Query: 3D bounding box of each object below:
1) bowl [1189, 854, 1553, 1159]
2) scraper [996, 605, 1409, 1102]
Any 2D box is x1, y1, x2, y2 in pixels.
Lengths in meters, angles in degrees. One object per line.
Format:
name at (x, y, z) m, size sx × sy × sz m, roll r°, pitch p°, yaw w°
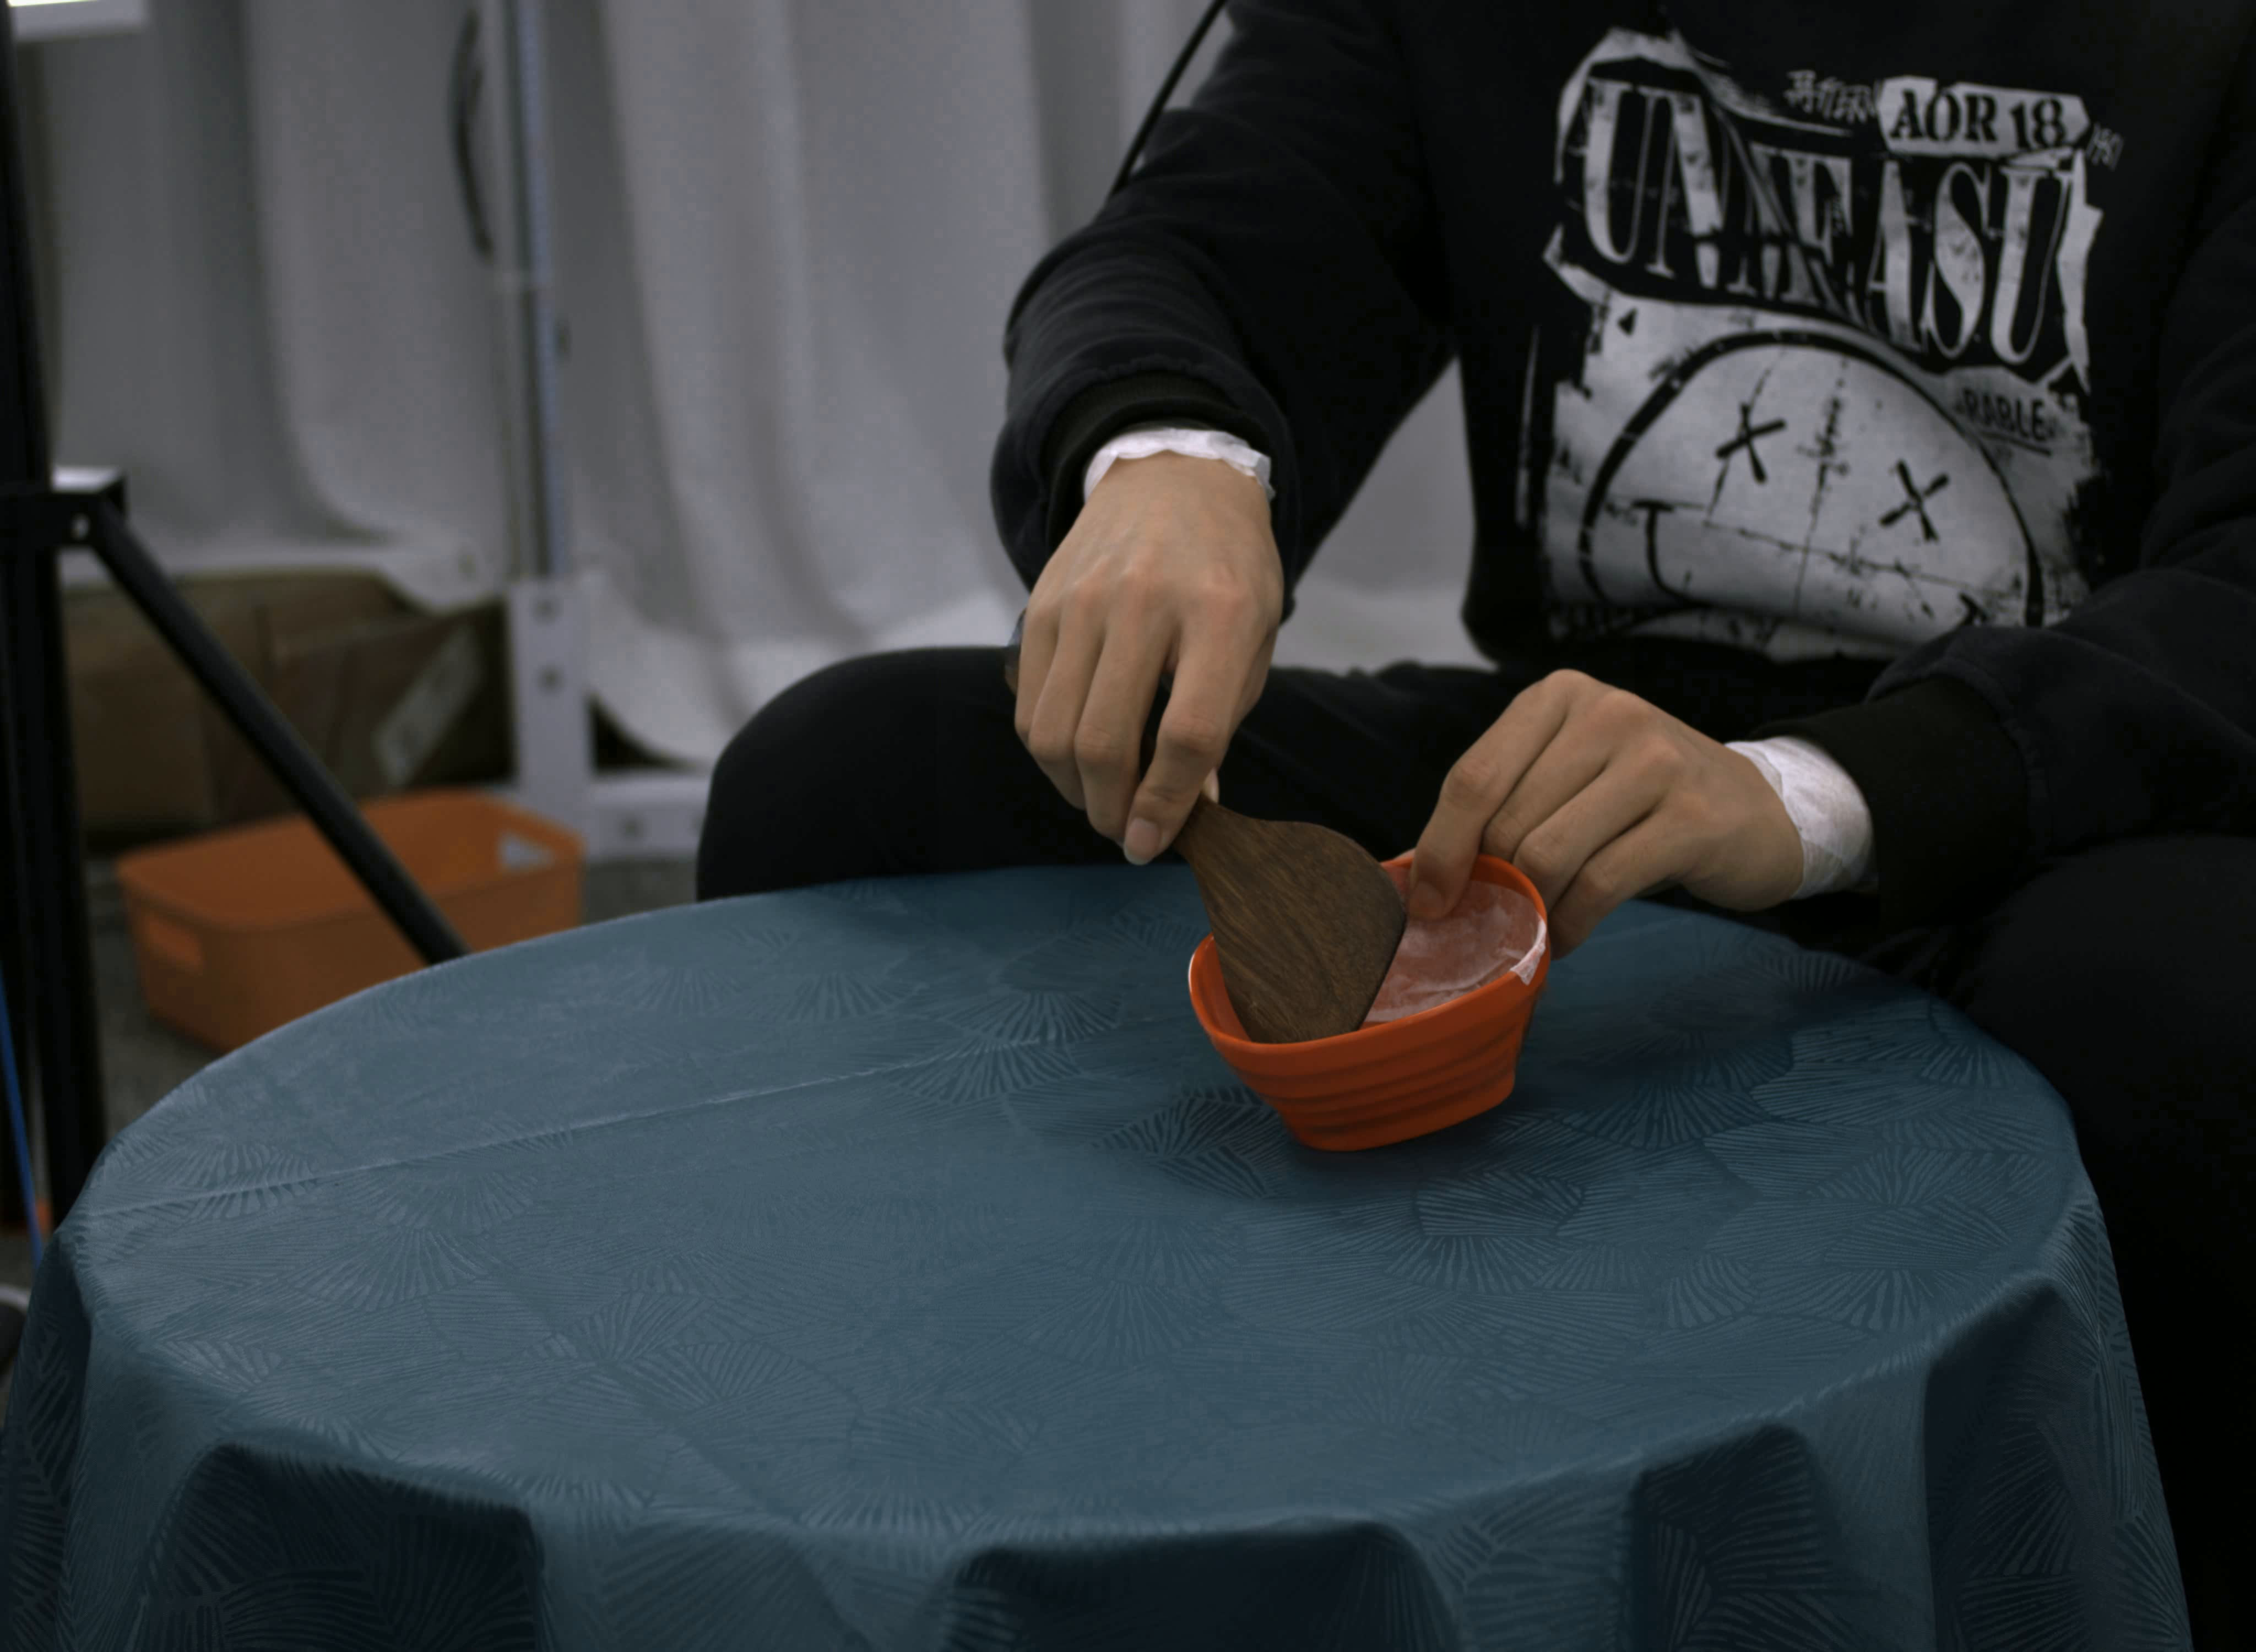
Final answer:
bowl at (0.078, 0.059, 1.599) m, size 0.119 × 0.051 × 0.120 m, roll -16°, pitch 24°, yaw 6°
scraper at (0.017, -0.003, 1.623) m, size 0.010 × 0.076 × 0.216 m, roll 8°, pitch 28°, yaw -41°
